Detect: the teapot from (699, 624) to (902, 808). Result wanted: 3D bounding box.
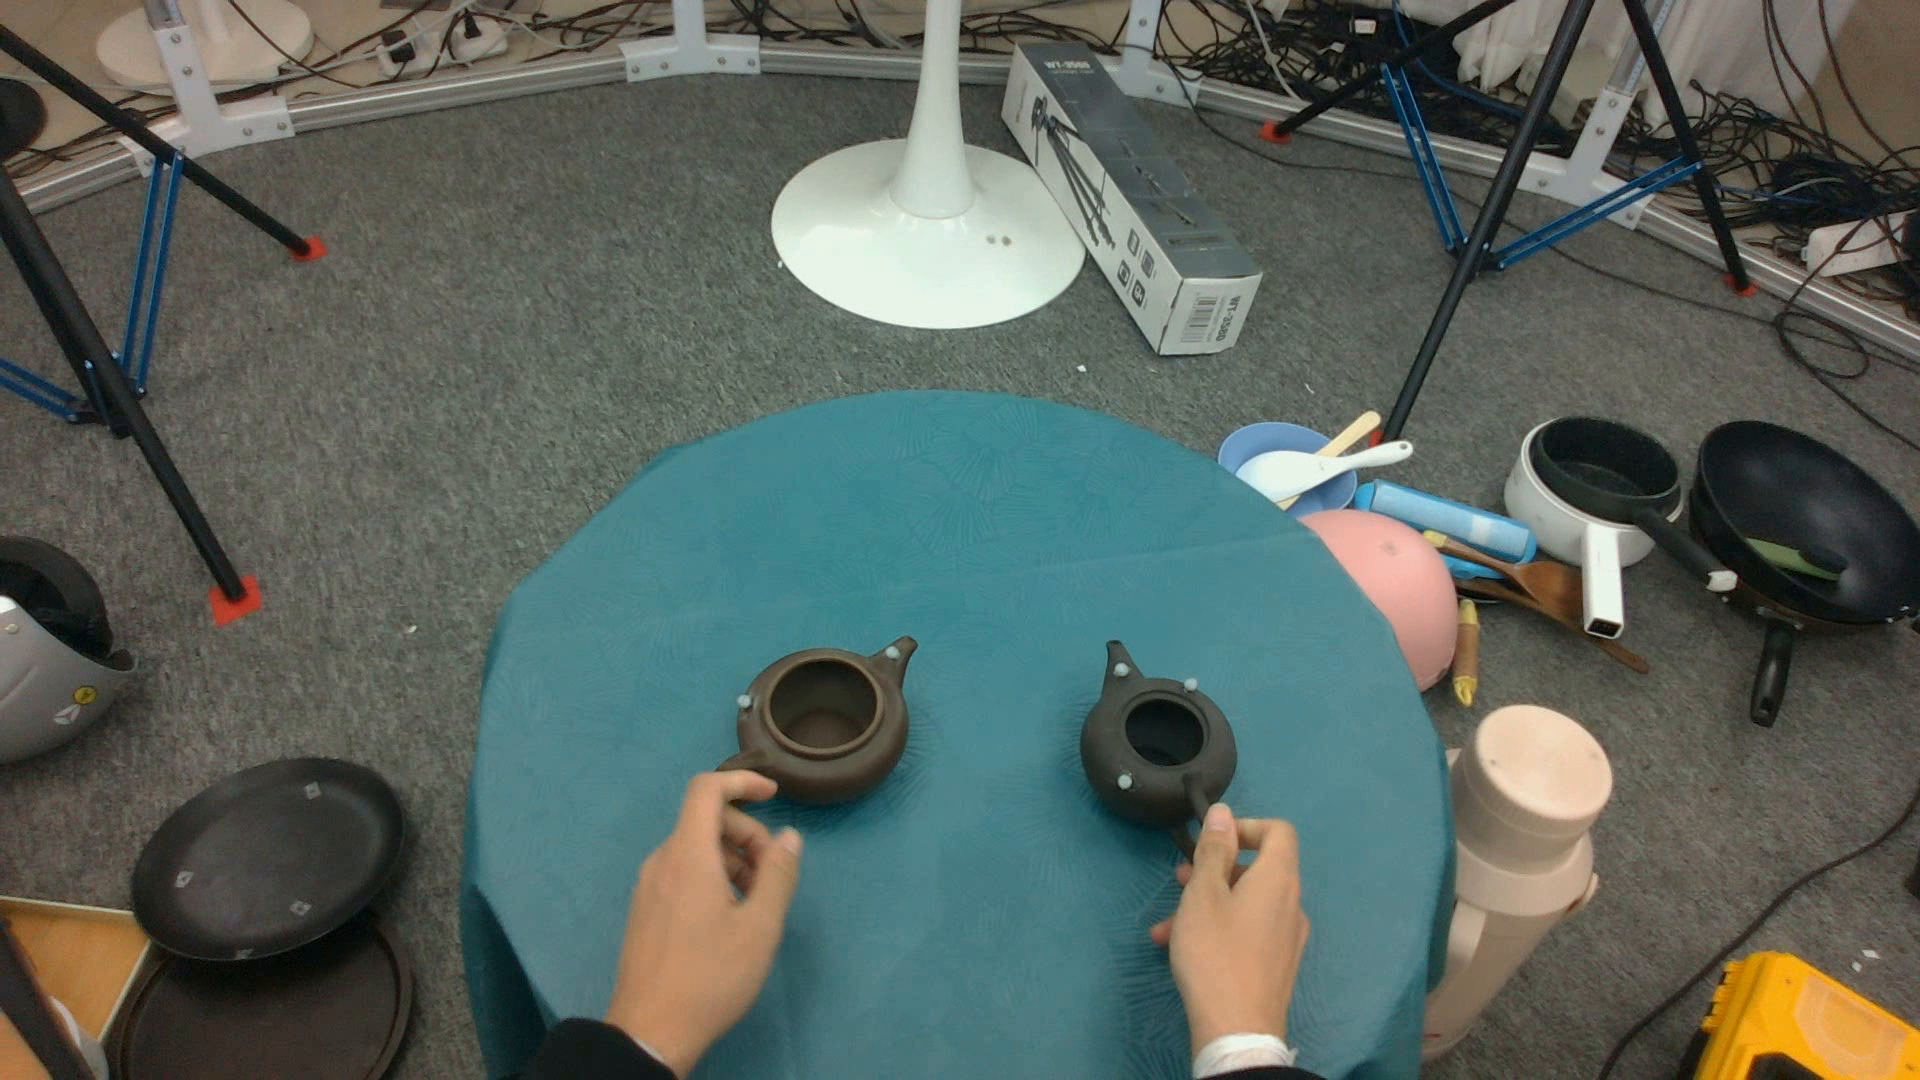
[{"bbox_3d":[-0.091,0.106,0.815,0.102,0.053,0.154,34,53,24],"label":"teapot"}]

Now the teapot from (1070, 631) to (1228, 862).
[{"bbox_3d":[0.113,0.123,0.817,0.092,0.064,0.154,-13,50,-15],"label":"teapot"}]
